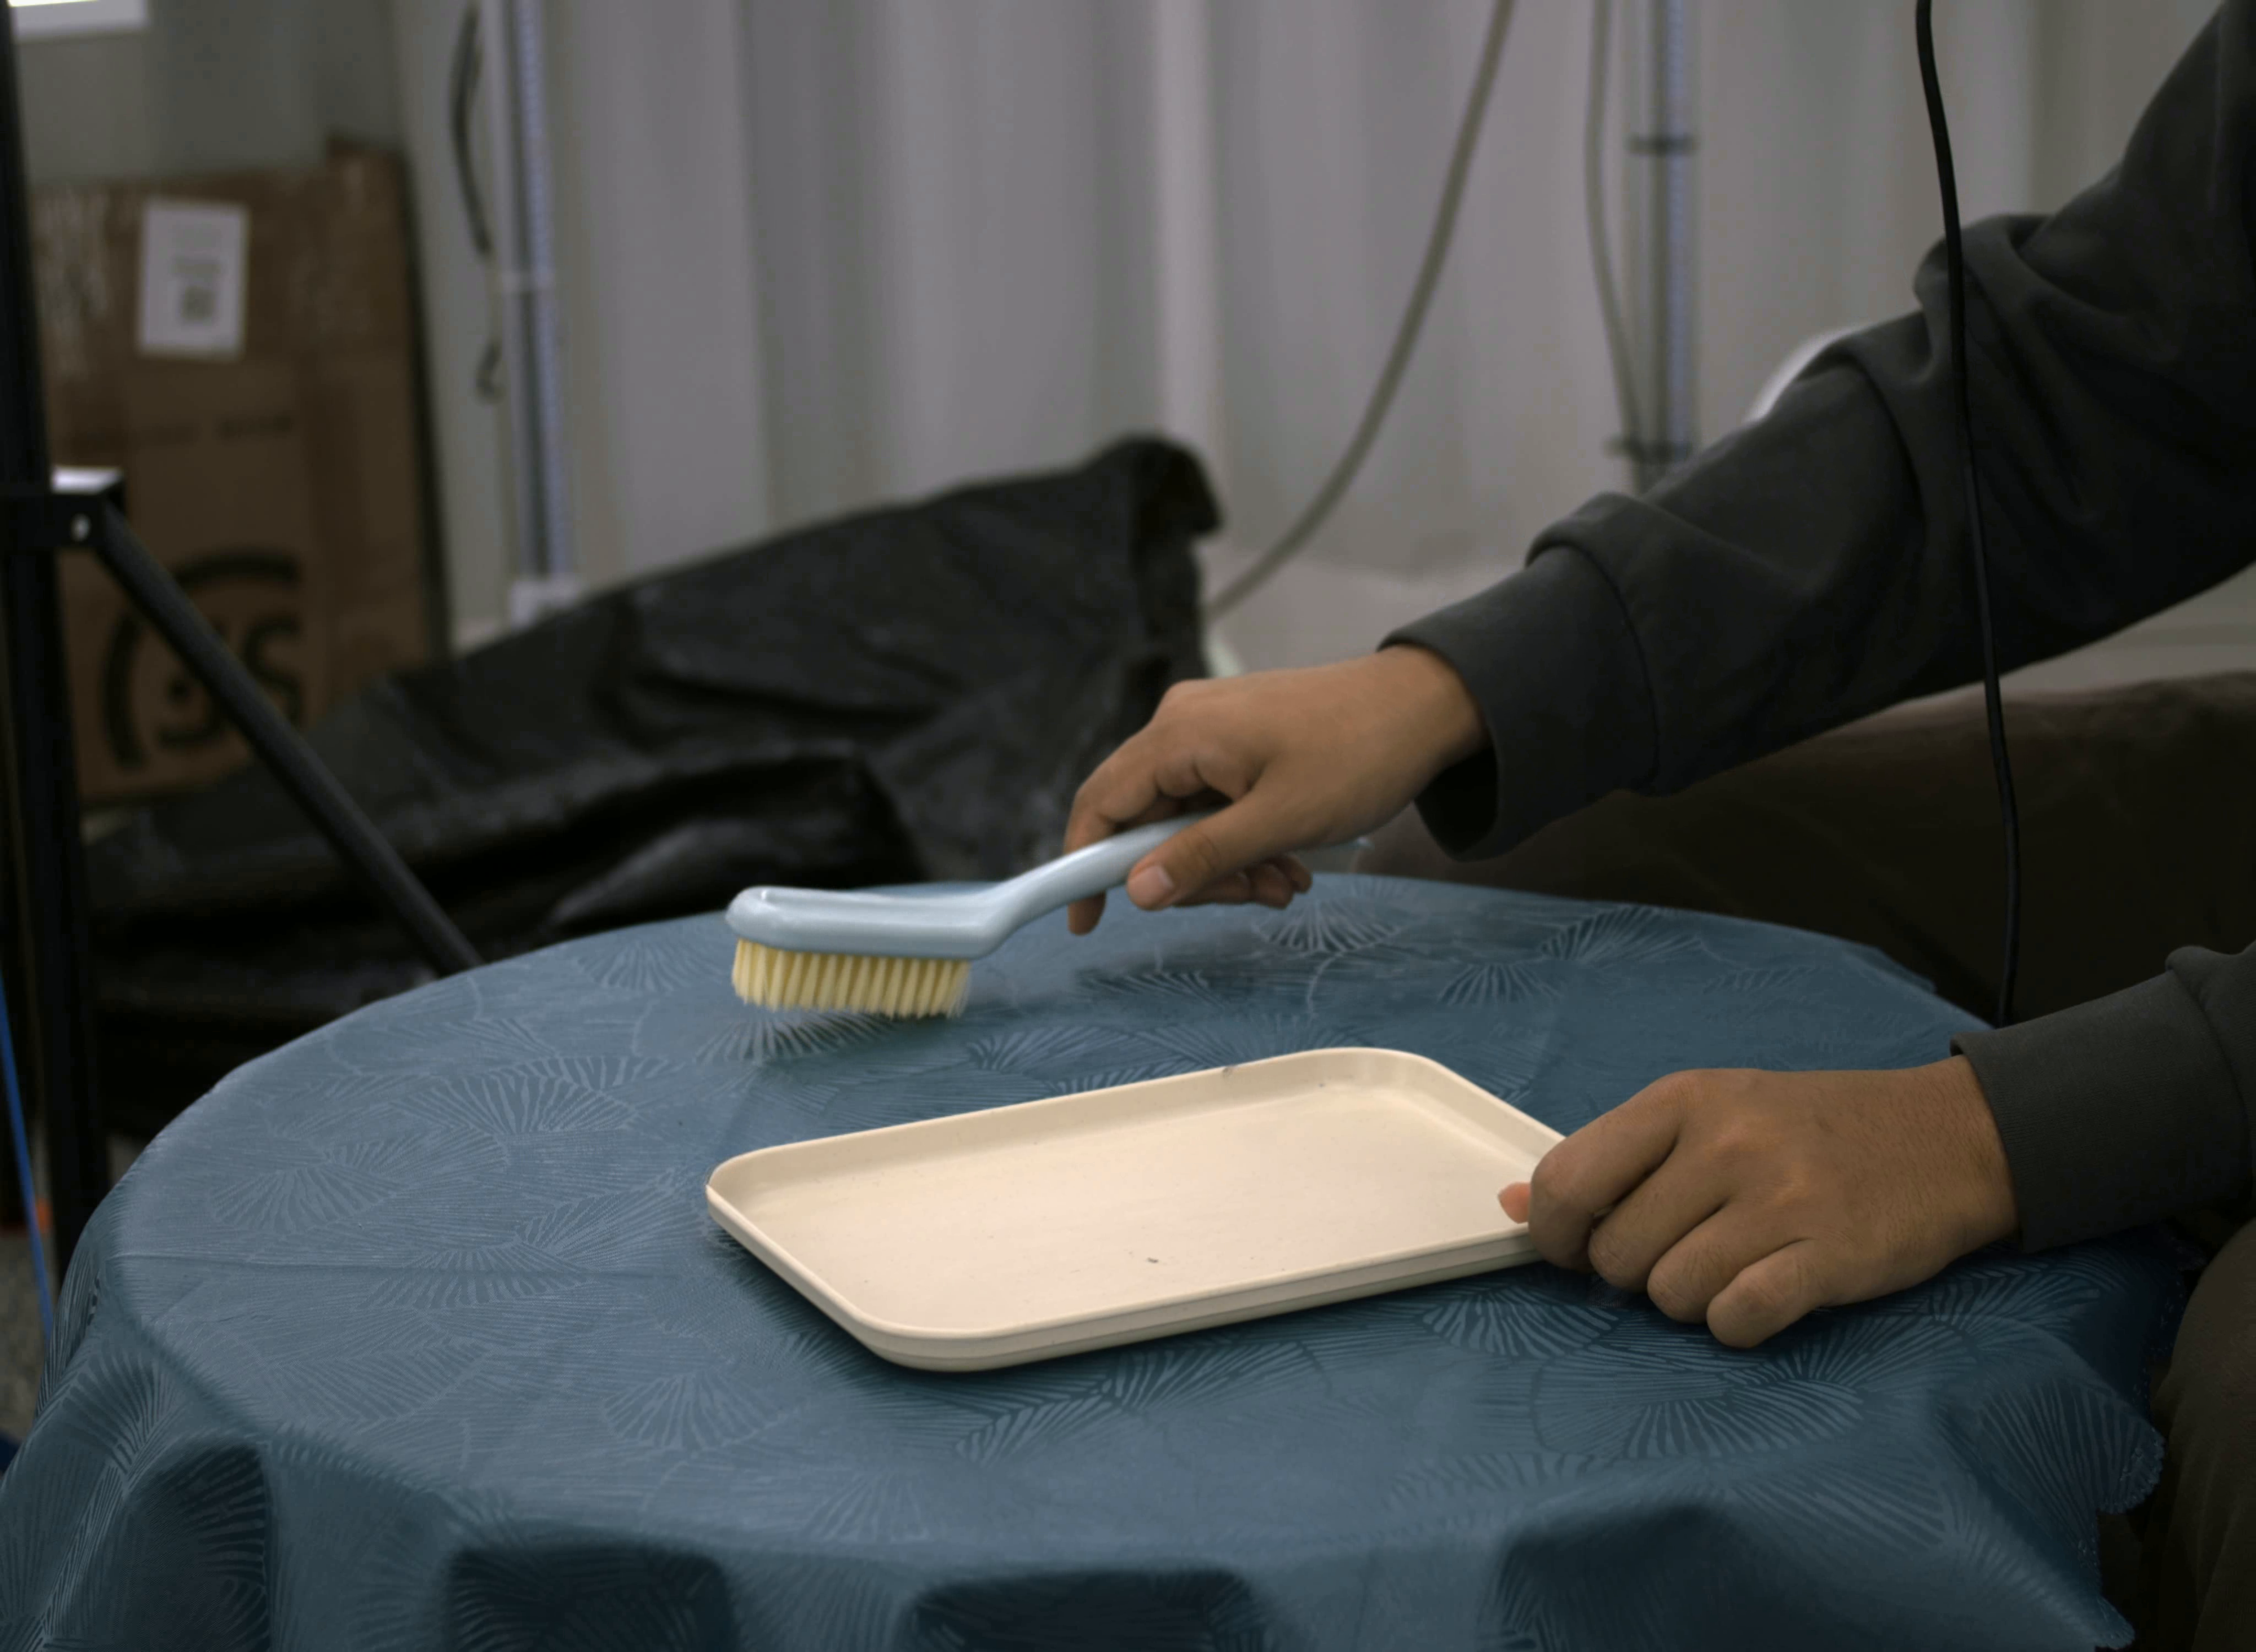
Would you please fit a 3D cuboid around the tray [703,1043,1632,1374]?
[{"bbox_3d":[0.011,0.109,1.519,0.235,0.017,0.174,-9,18,-22],"label":"tray"}]

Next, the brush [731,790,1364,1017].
[{"bbox_3d":[-0.024,0.027,1.745,0.224,0.049,0.038,-13,22,-24],"label":"brush"}]
